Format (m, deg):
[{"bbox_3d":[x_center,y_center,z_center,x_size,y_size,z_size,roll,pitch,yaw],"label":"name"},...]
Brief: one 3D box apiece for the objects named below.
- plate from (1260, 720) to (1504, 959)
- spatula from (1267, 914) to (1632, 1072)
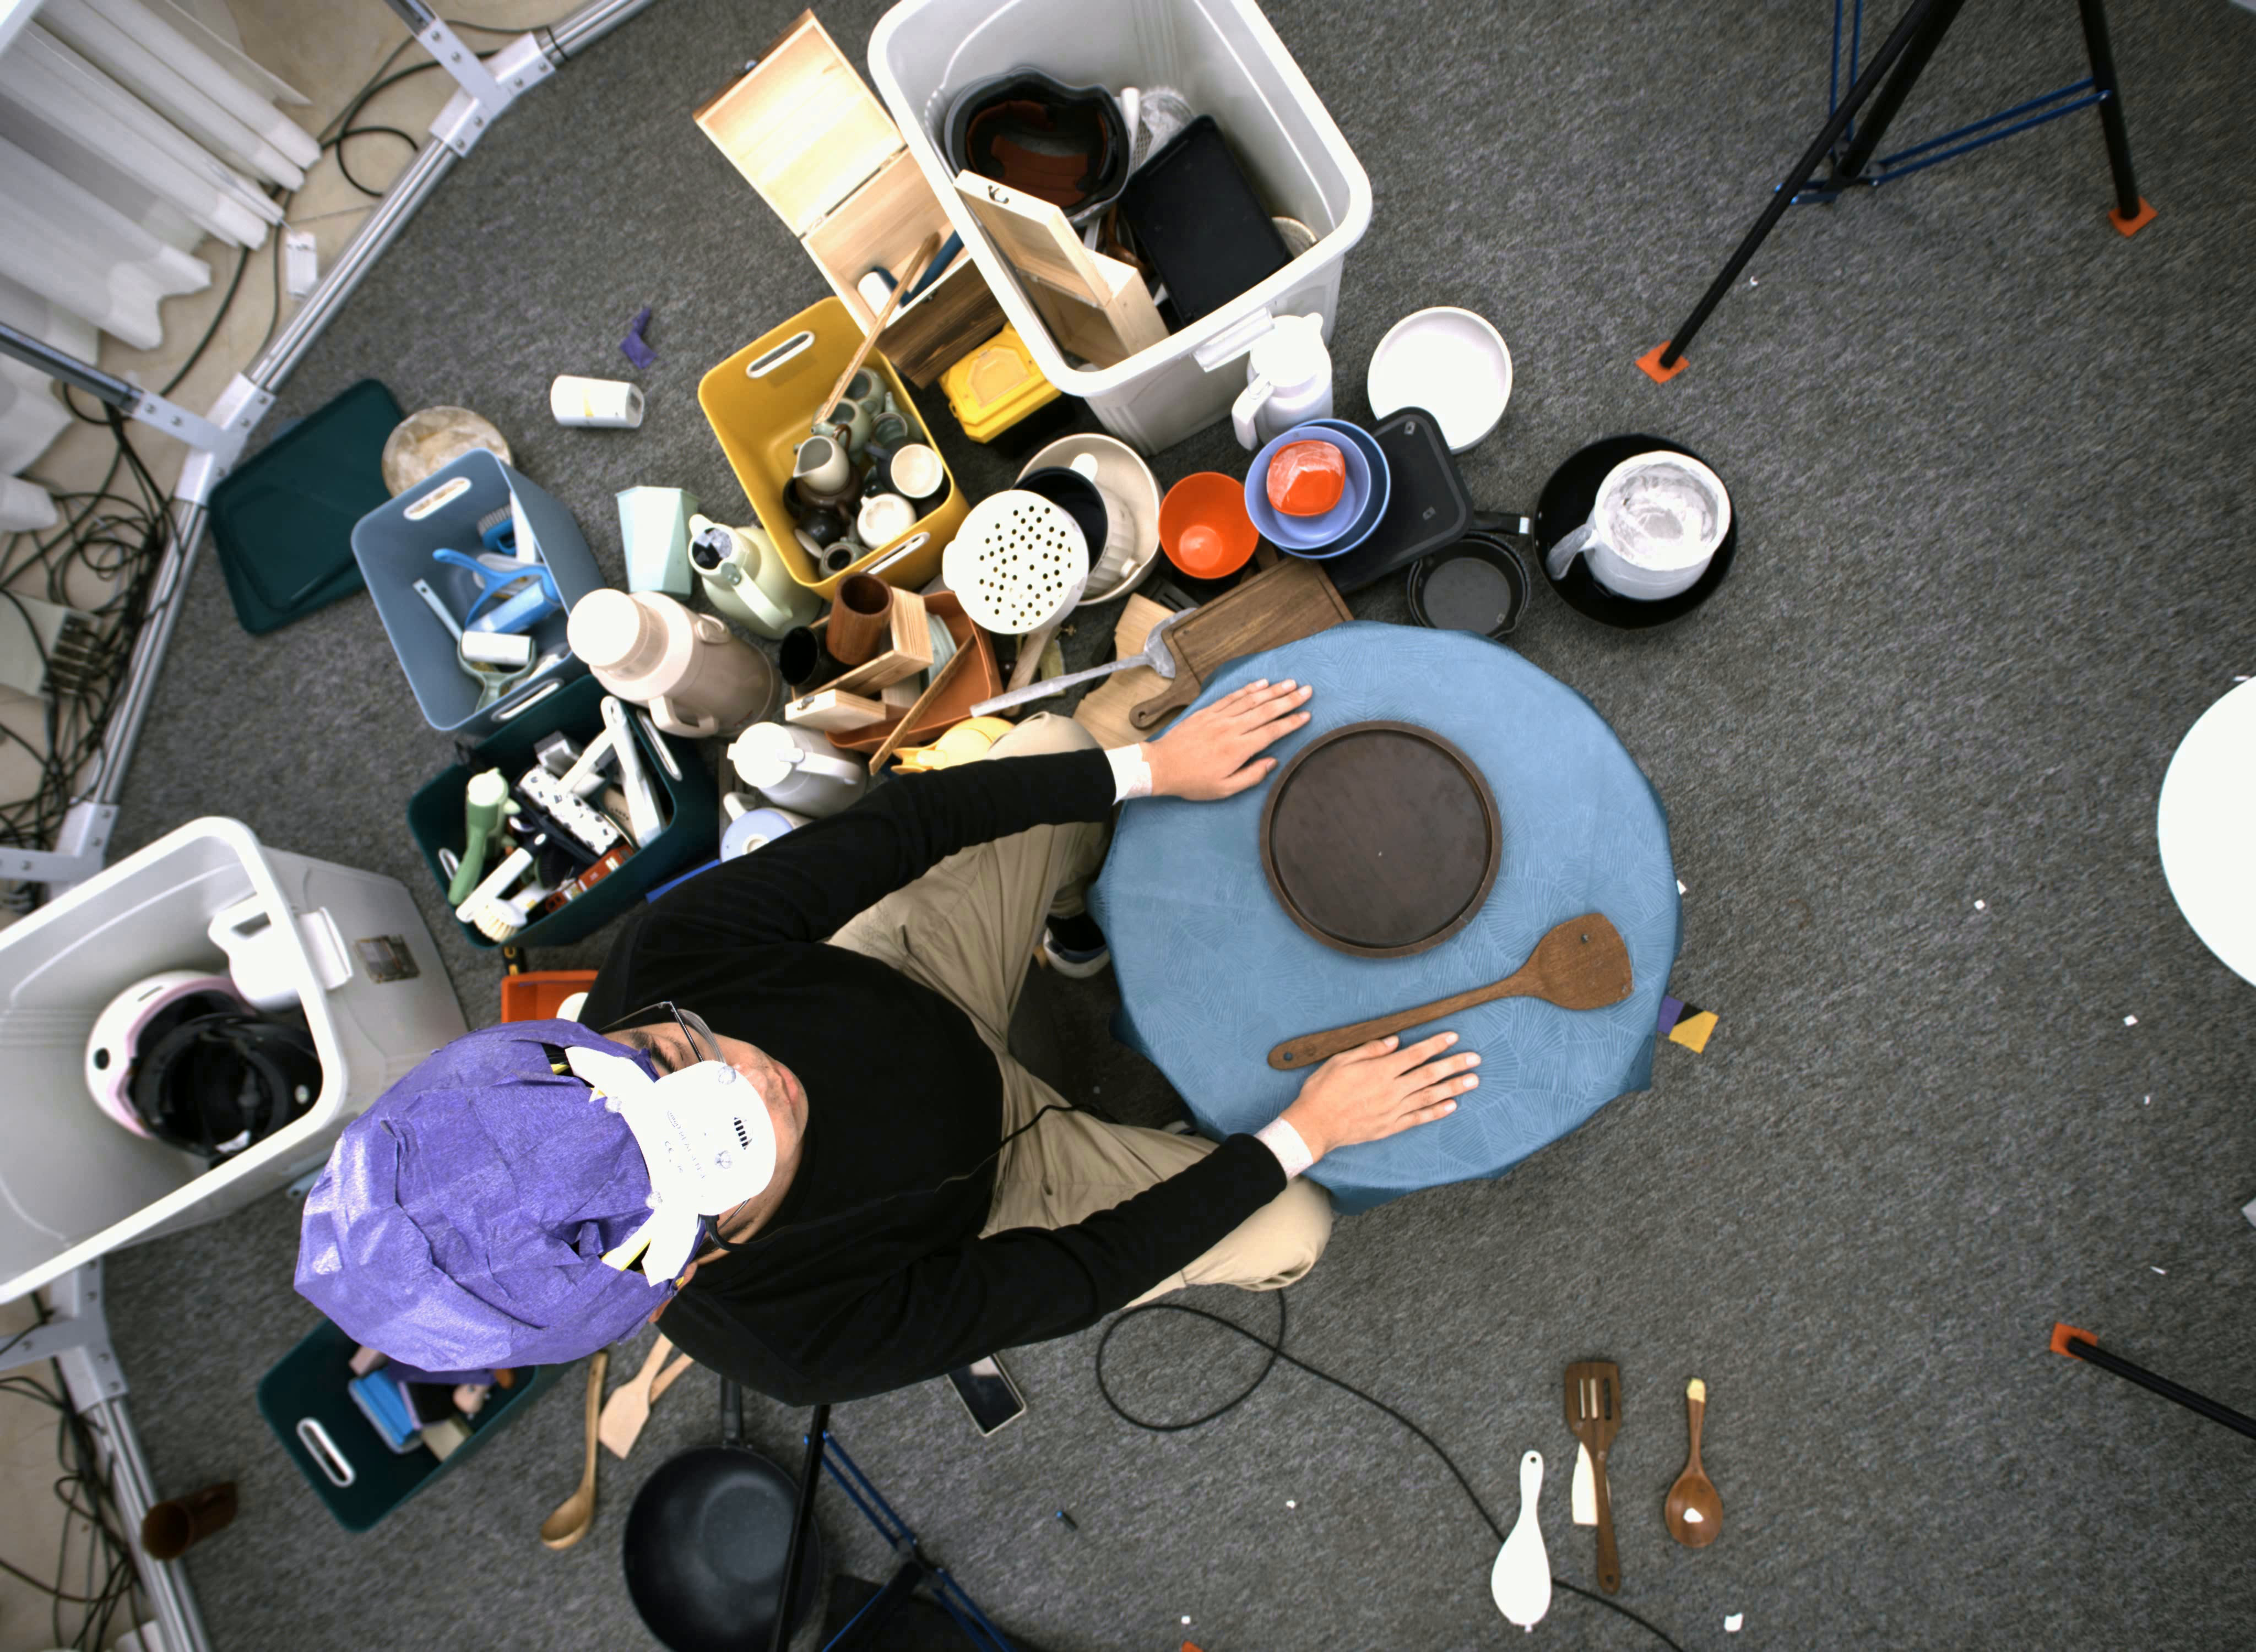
[{"bbox_3d":[0.266,0.012,1.452,0.256,0.029,0.254,-1,88,10],"label":"plate"},{"bbox_3d":[0.329,0.188,1.435,0.388,0.016,0.095,-19,83,9],"label":"spatula"}]
